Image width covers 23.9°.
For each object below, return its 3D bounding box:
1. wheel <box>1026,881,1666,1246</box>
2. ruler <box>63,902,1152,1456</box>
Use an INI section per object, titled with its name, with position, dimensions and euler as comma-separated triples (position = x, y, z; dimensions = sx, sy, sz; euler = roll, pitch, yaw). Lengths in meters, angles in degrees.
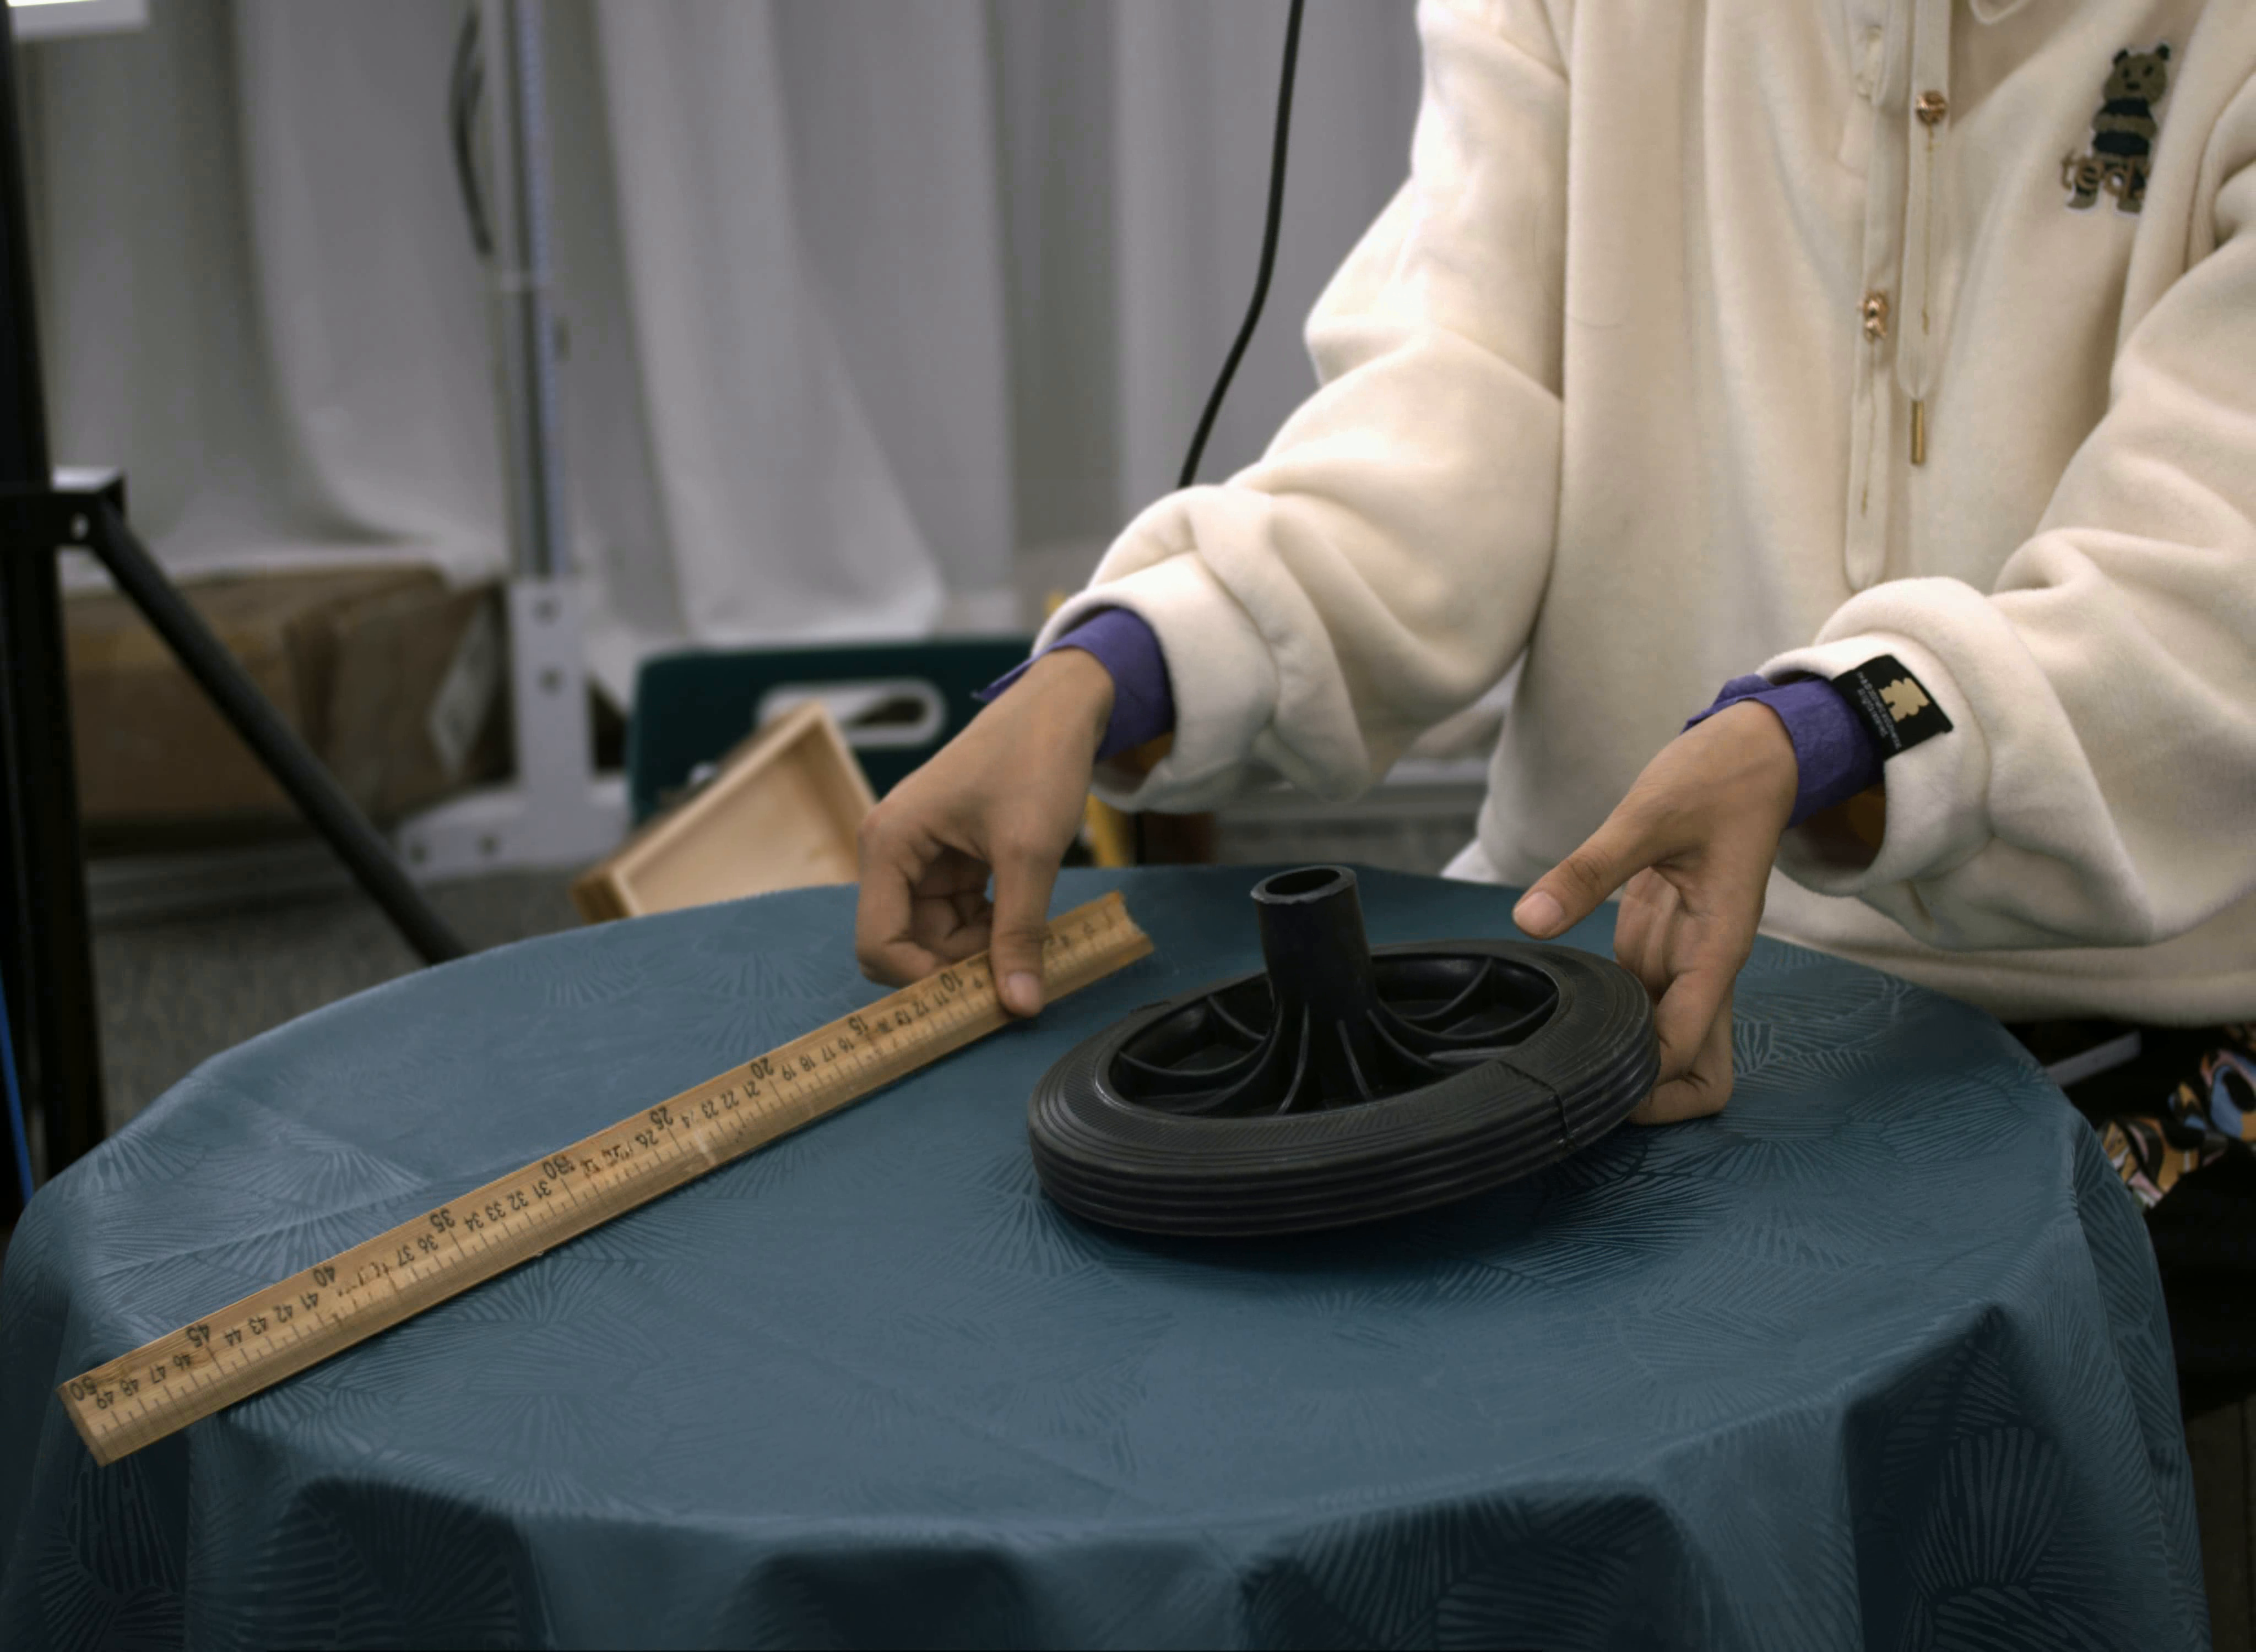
[wheel]
position = 0.060, 0.058, 1.558
dimensions = 0.189, 0.079, 0.189
euler = -12, 17, -1
[ruler]
position = -0.135, 0.094, 1.586
dimensions = 0.006, 0.027, 0.490
euler = -37, -8, 37
